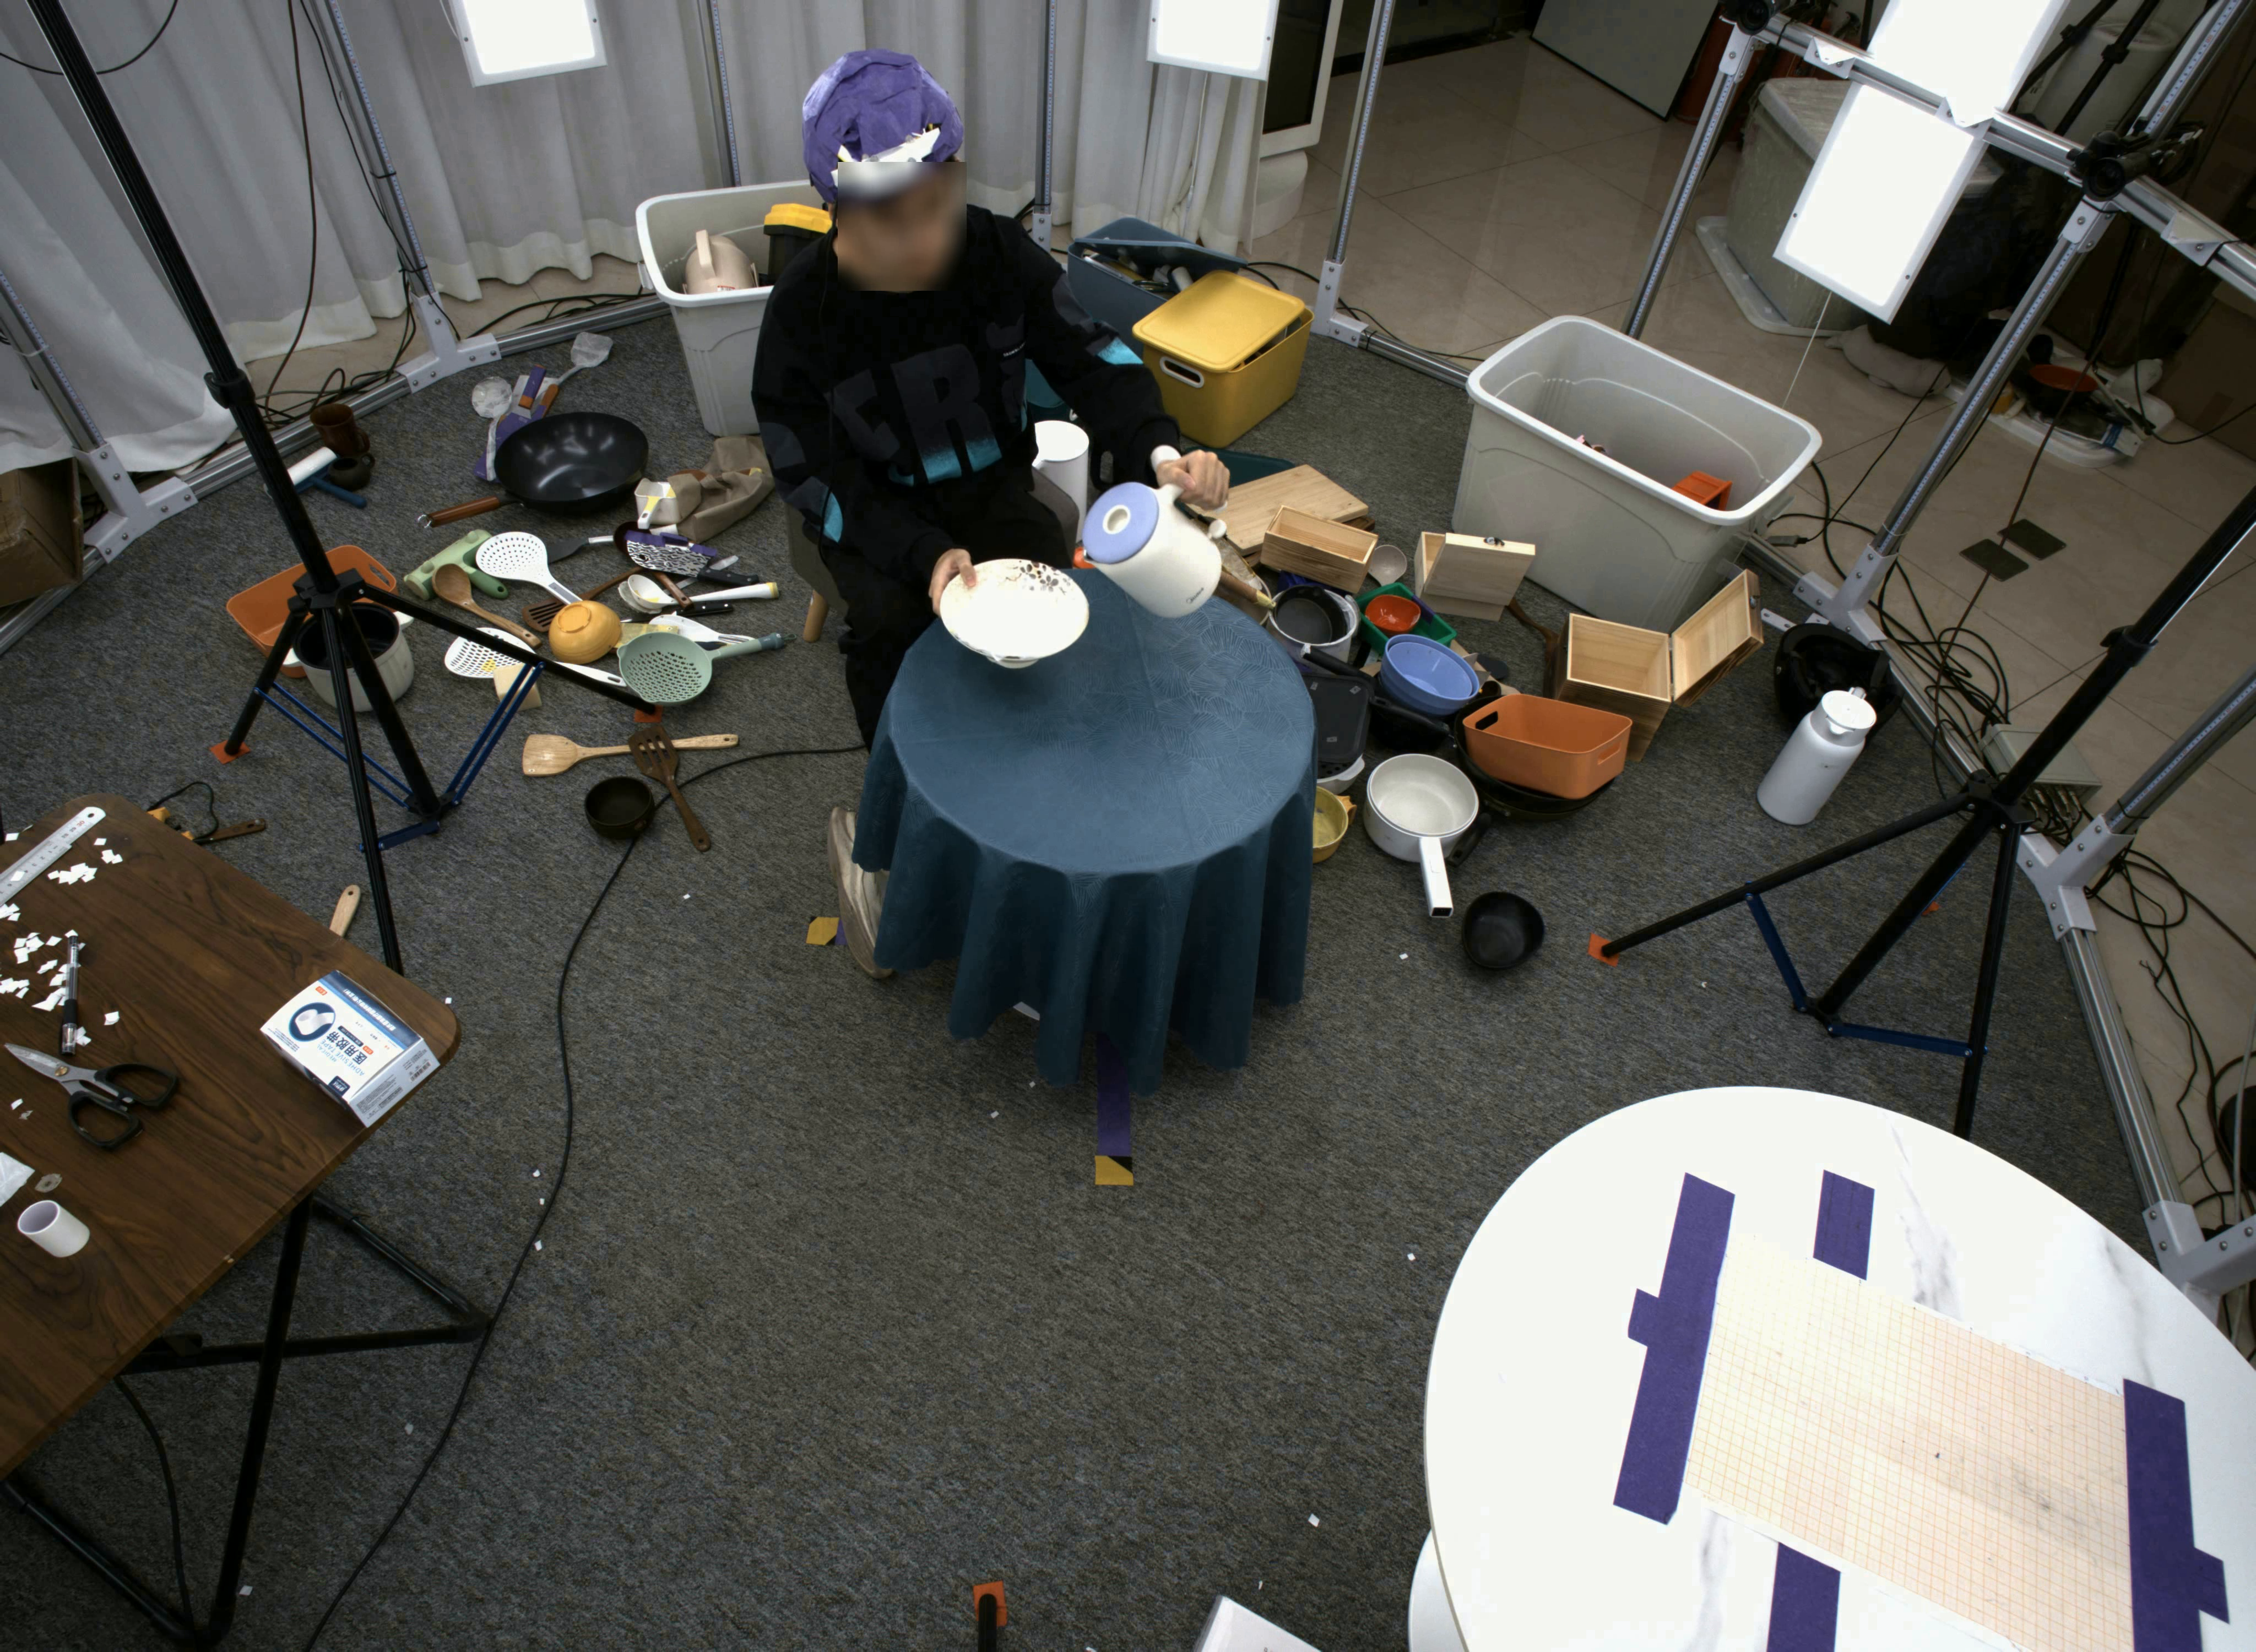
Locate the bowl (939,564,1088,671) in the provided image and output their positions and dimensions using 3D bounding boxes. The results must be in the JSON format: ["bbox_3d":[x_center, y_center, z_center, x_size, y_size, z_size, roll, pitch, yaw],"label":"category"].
[{"bbox_3d":[-0.158,-0.273,1.788,0.204,0.076,0.209,3,46,-3],"label":"bowl"}]

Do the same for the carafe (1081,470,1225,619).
[{"bbox_3d":[0.050,-0.392,1.750,0.190,0.179,0.135,-43,54,9],"label":"carafe"}]
